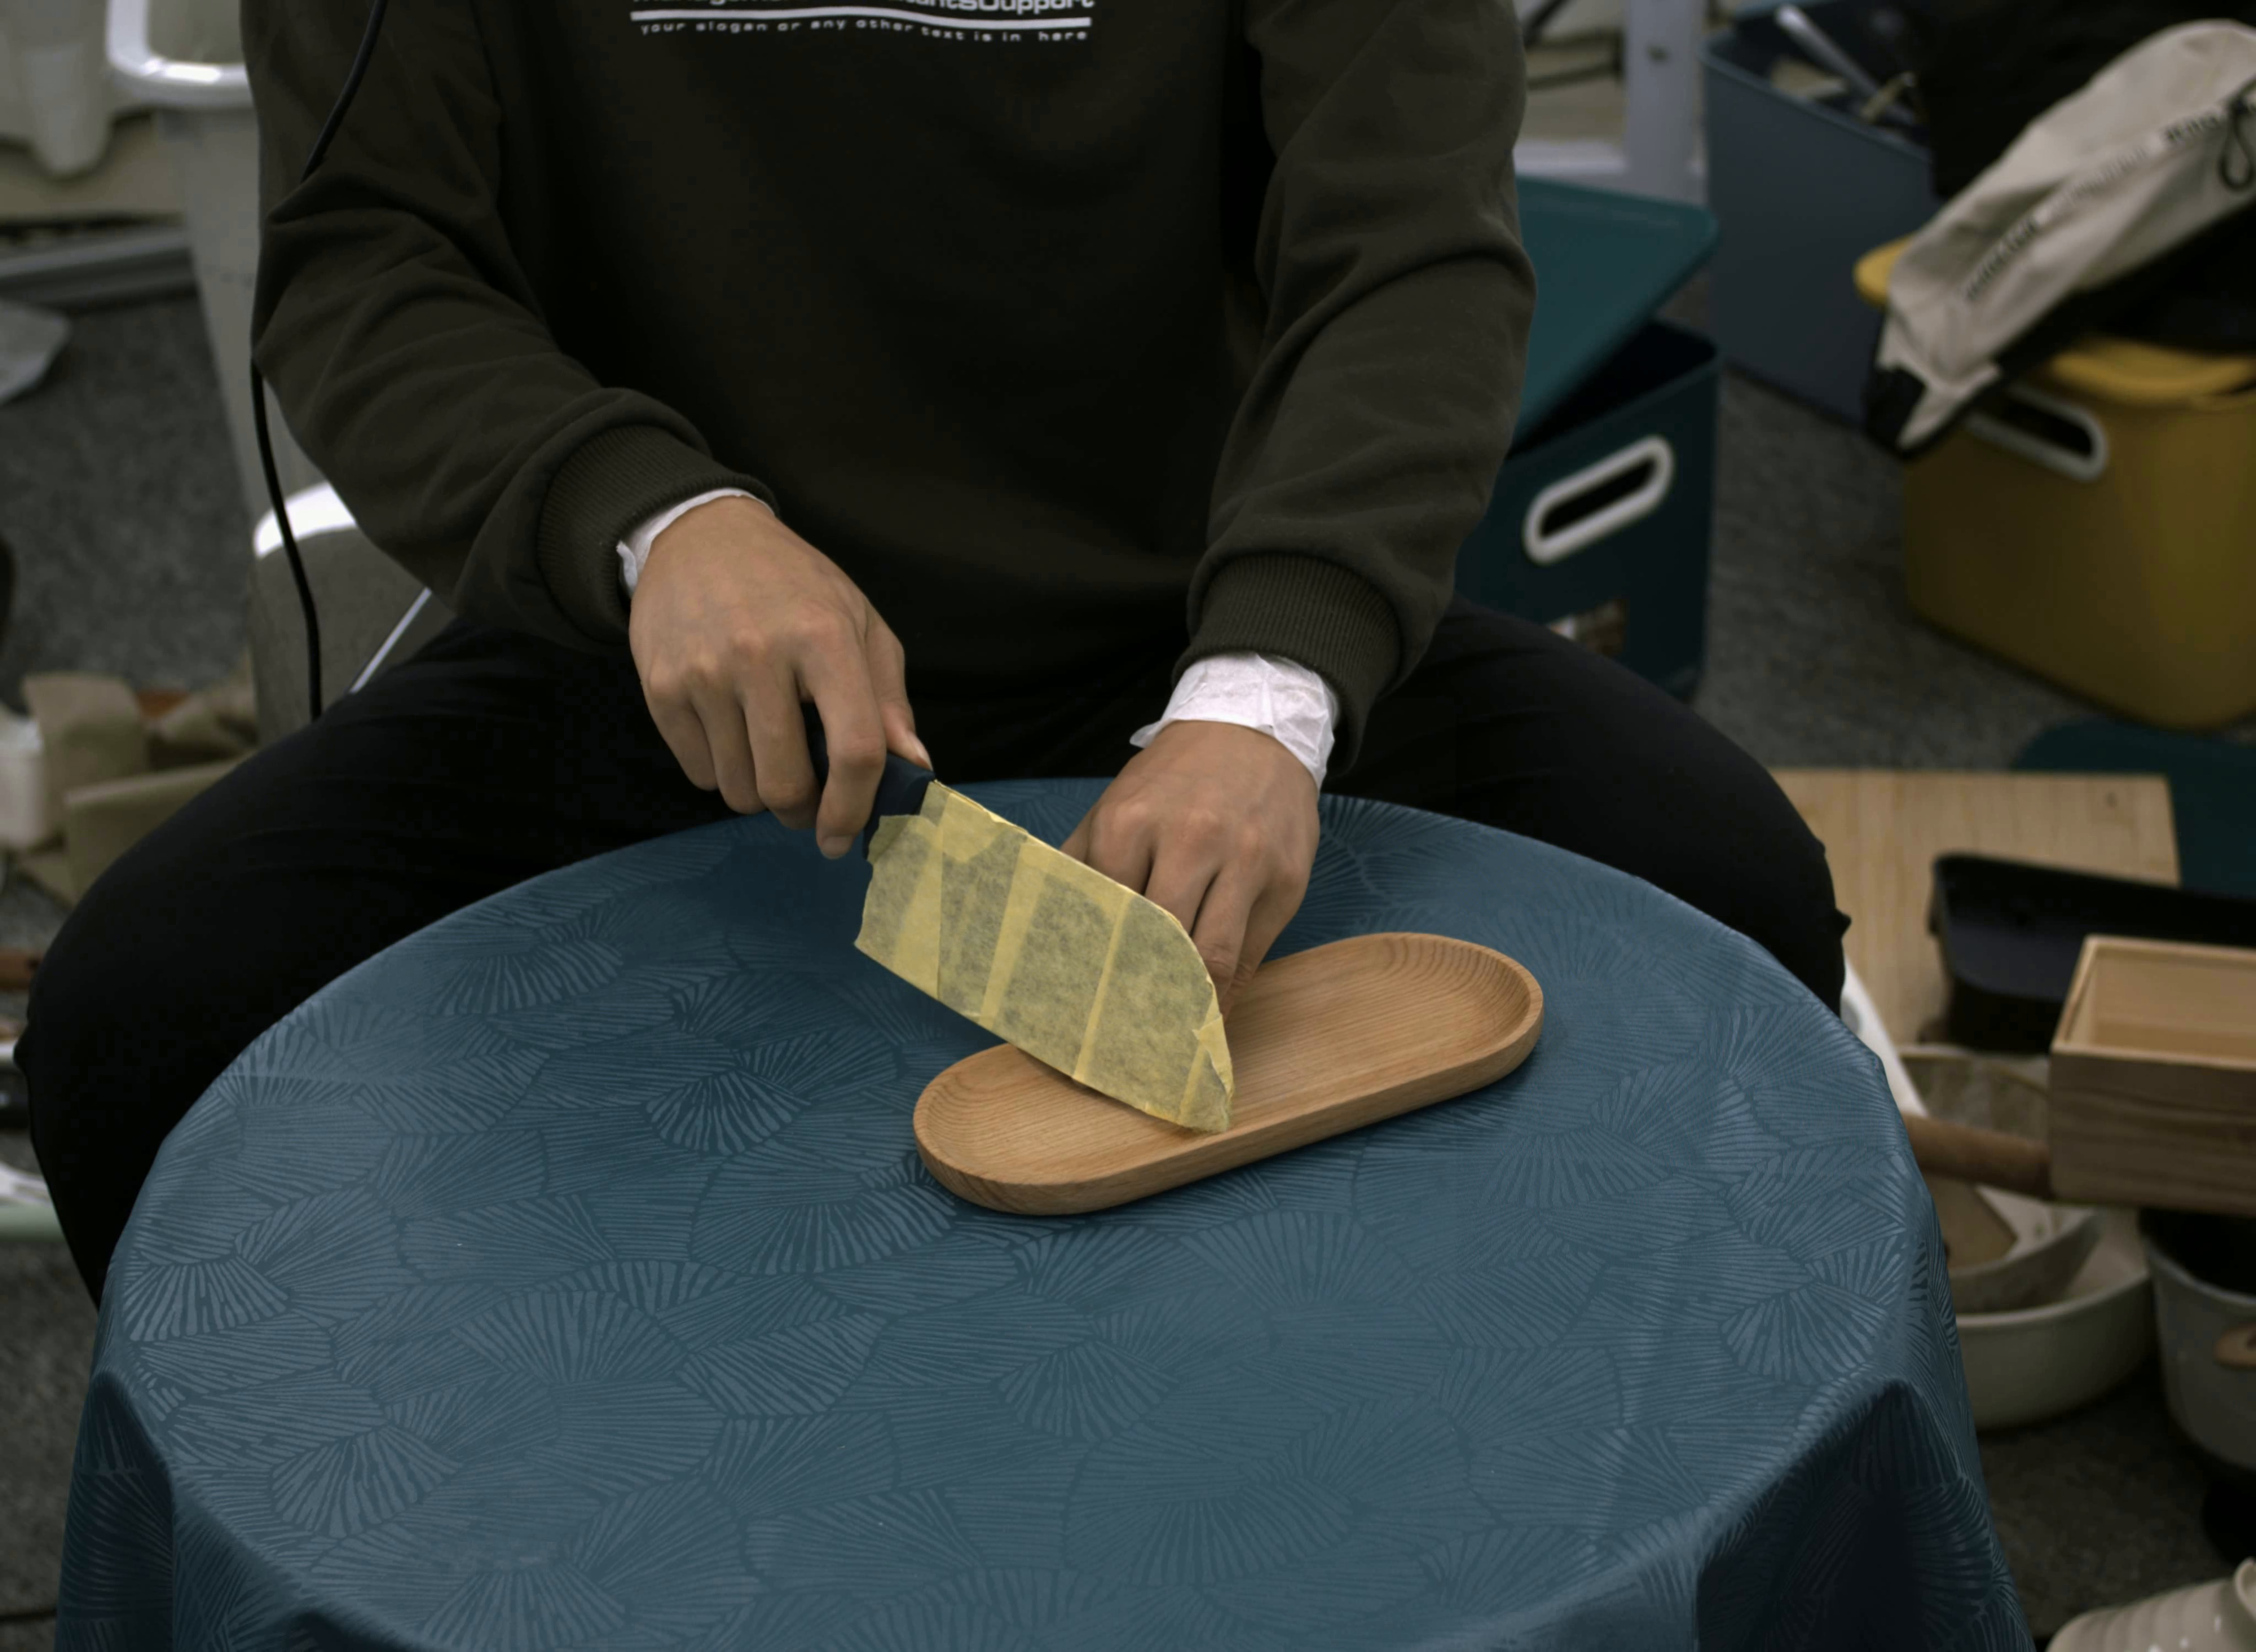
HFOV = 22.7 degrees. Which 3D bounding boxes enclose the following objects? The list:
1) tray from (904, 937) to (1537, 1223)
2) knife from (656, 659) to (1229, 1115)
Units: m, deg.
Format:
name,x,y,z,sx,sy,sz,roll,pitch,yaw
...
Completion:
name,x,y,z,sx,sy,sz,roll,pitch,yaw
tray,0.033,0.086,1.911,0.232,0.020,0.102,-18,28,-23
knife,-0.067,0.019,1.943,0.290,0.080,0.027,33,21,34
